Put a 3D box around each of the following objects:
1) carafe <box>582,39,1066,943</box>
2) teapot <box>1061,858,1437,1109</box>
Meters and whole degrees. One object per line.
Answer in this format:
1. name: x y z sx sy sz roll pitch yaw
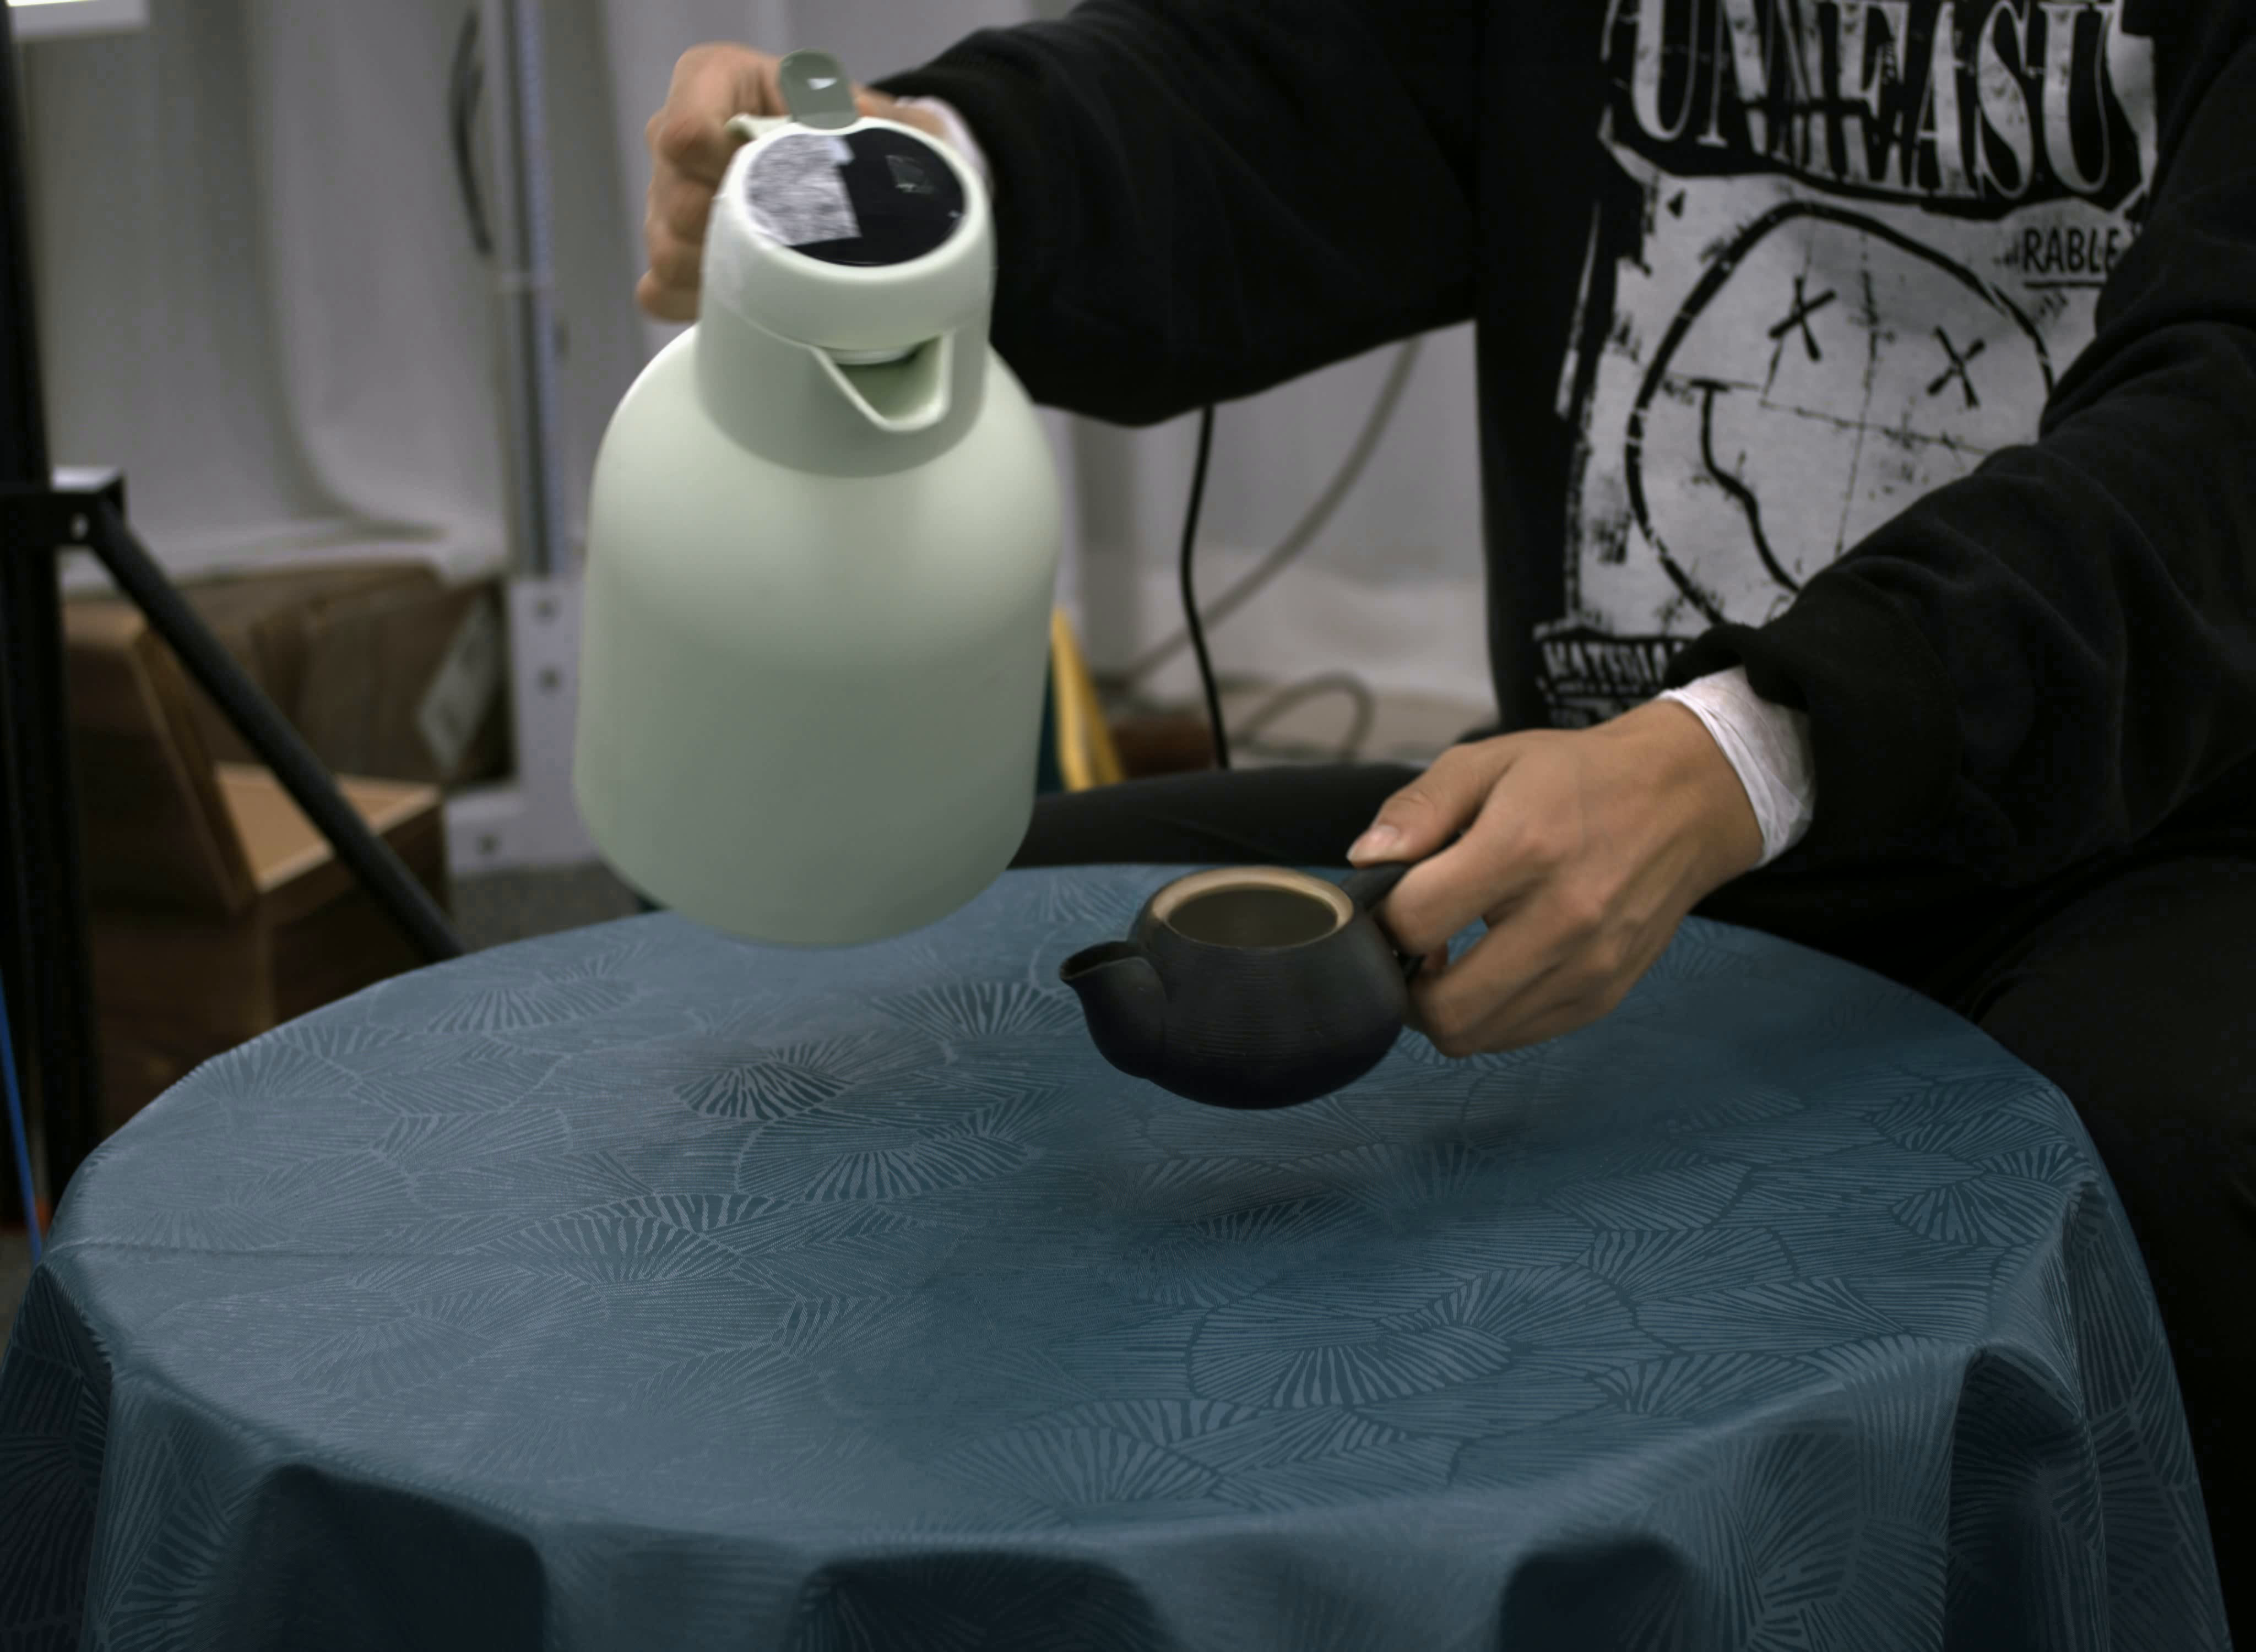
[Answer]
1. carafe: -0.092 -0.105 1.609 0.142 0.256 0.190 -8 45 -15
2. teapot: 0.037 0.046 1.536 0.130 0.053 0.093 -17 30 -30
